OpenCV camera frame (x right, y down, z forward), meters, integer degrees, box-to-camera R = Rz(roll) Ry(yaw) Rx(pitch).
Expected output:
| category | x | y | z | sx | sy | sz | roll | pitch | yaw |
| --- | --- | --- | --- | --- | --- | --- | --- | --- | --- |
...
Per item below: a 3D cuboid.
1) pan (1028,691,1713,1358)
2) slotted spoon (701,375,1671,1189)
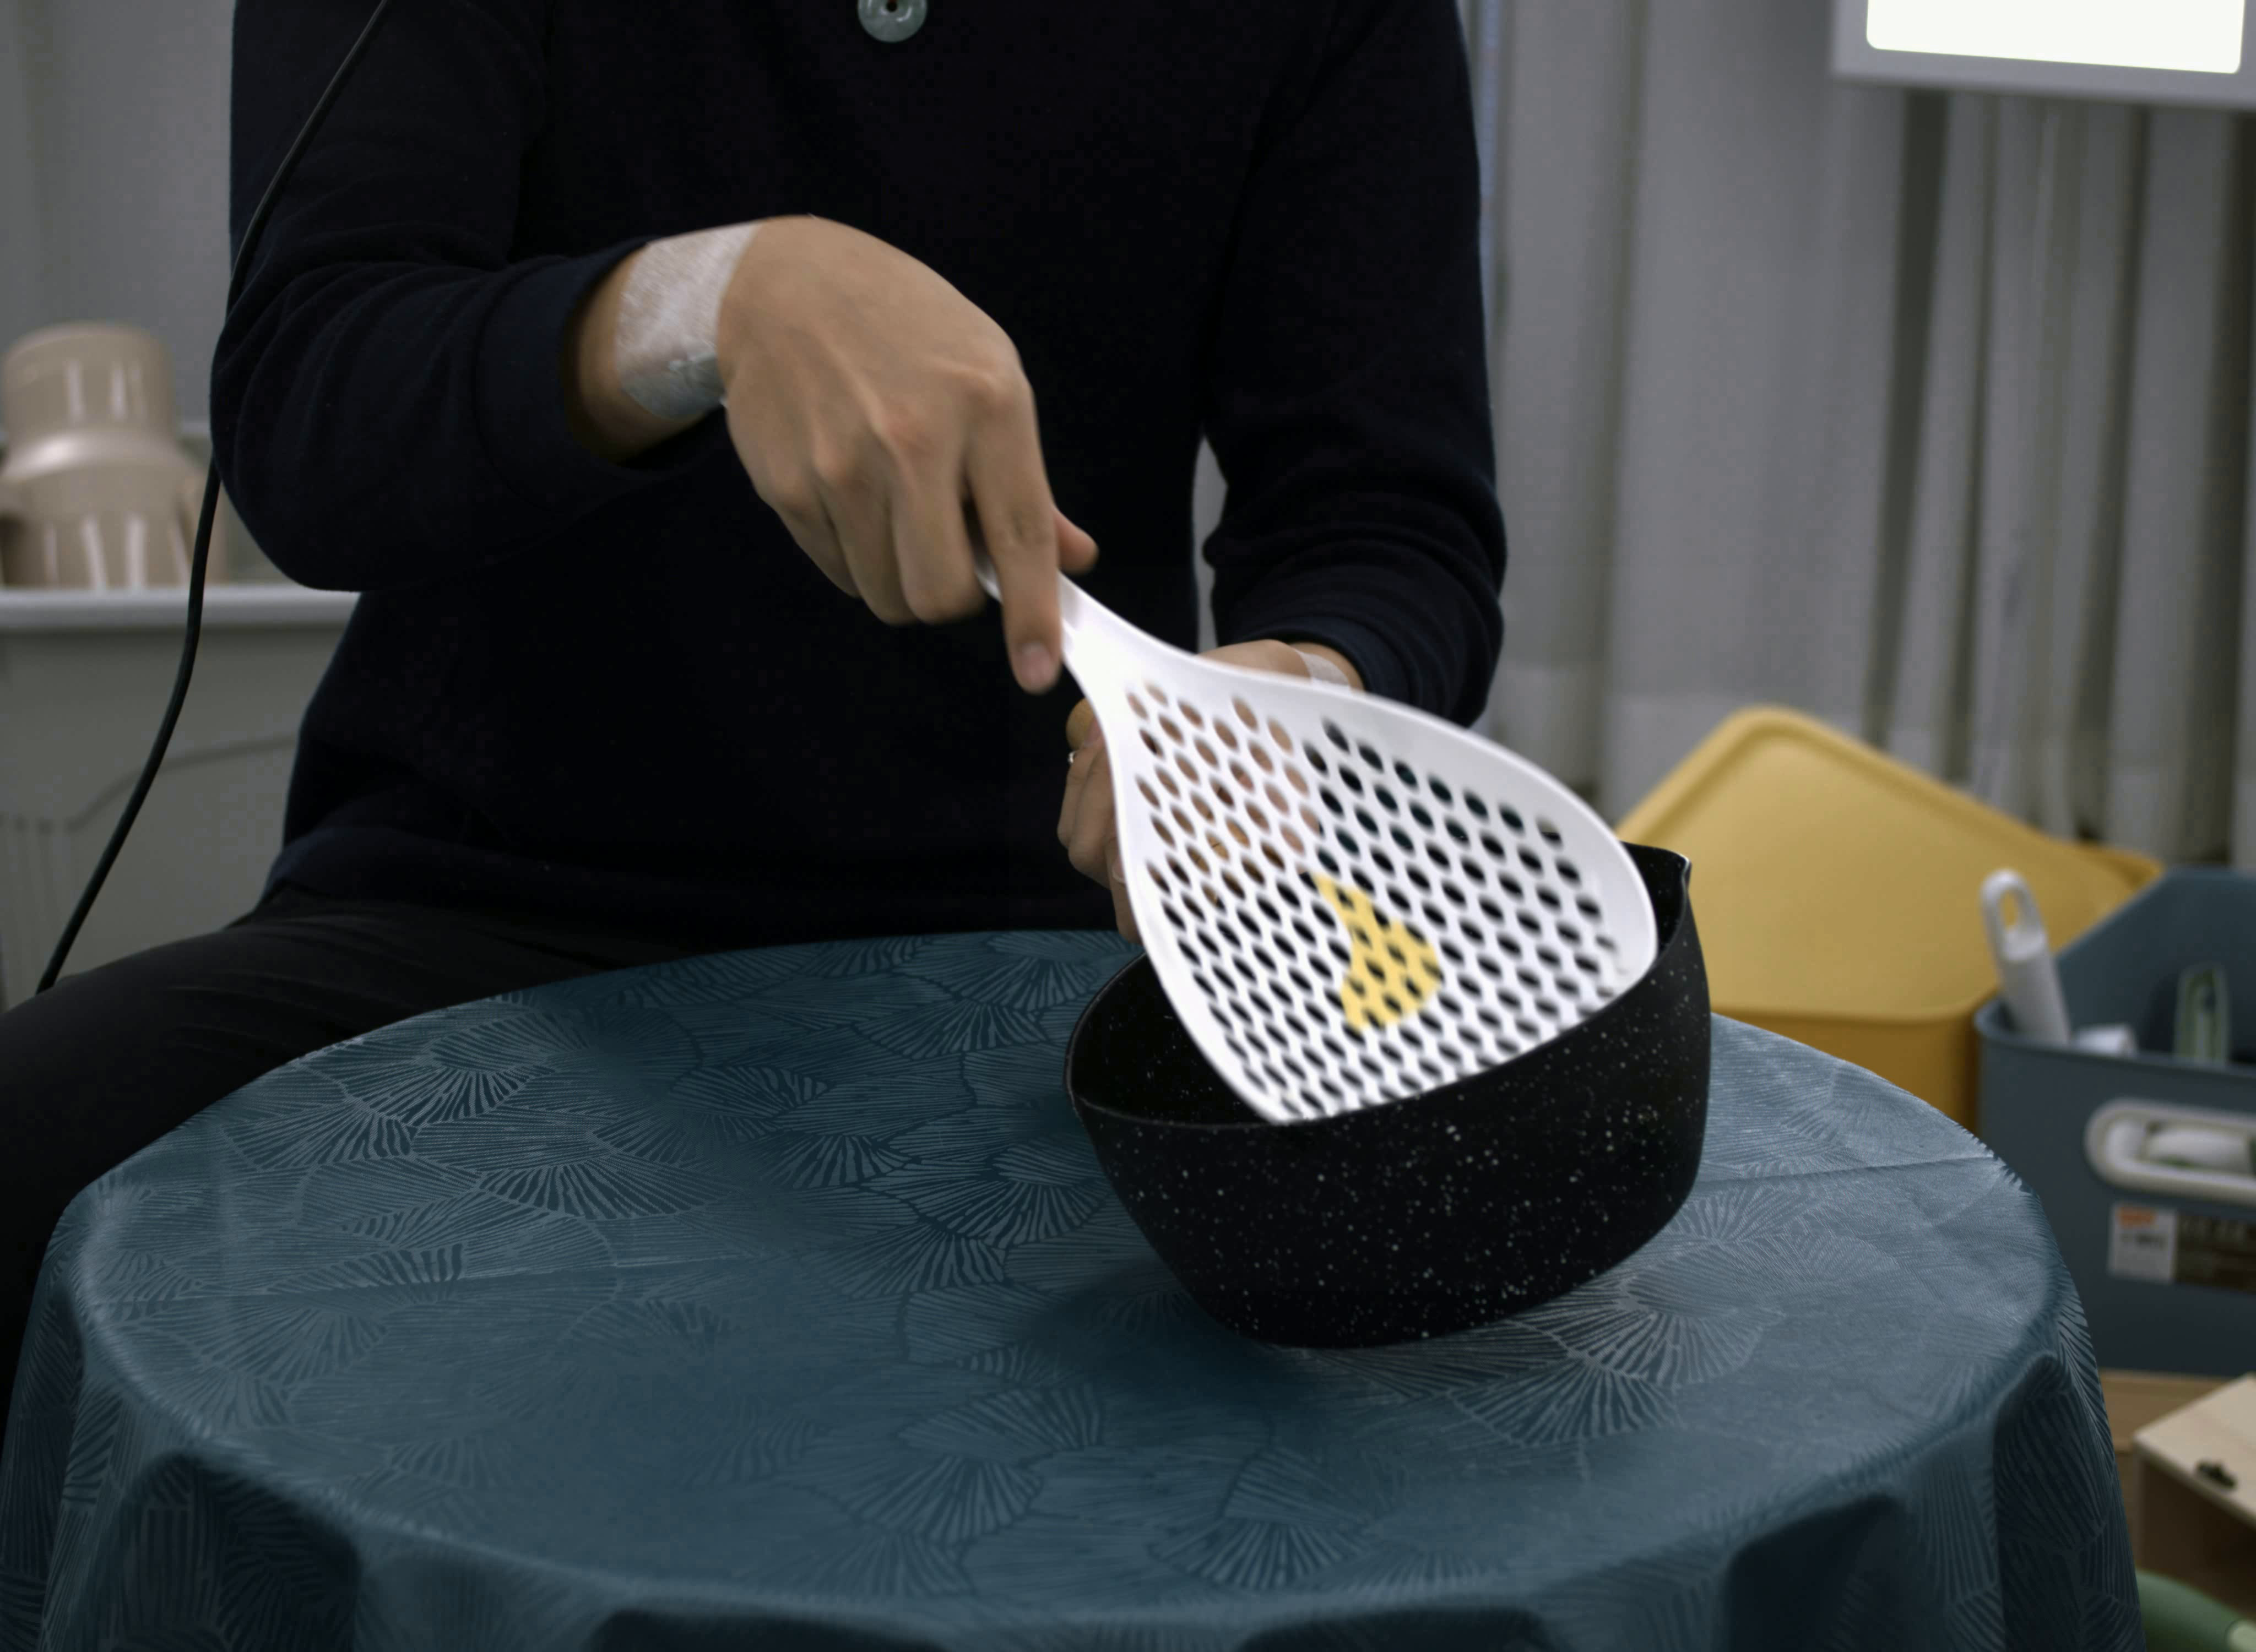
| category | x | y | z | sx | sy | sz | roll | pitch | yaw |
| --- | --- | --- | --- | --- | --- | --- | --- | --- | --- |
| pan | 0.053 | 0.048 | 1.587 | 0.207 | 0.109 | 0.339 | -23 | 22 | -12 |
| slotted spoon | 0.004 | -0.029 | 1.506 | 0.137 | 0.050 | 0.345 | -41 | 76 | -19 |
